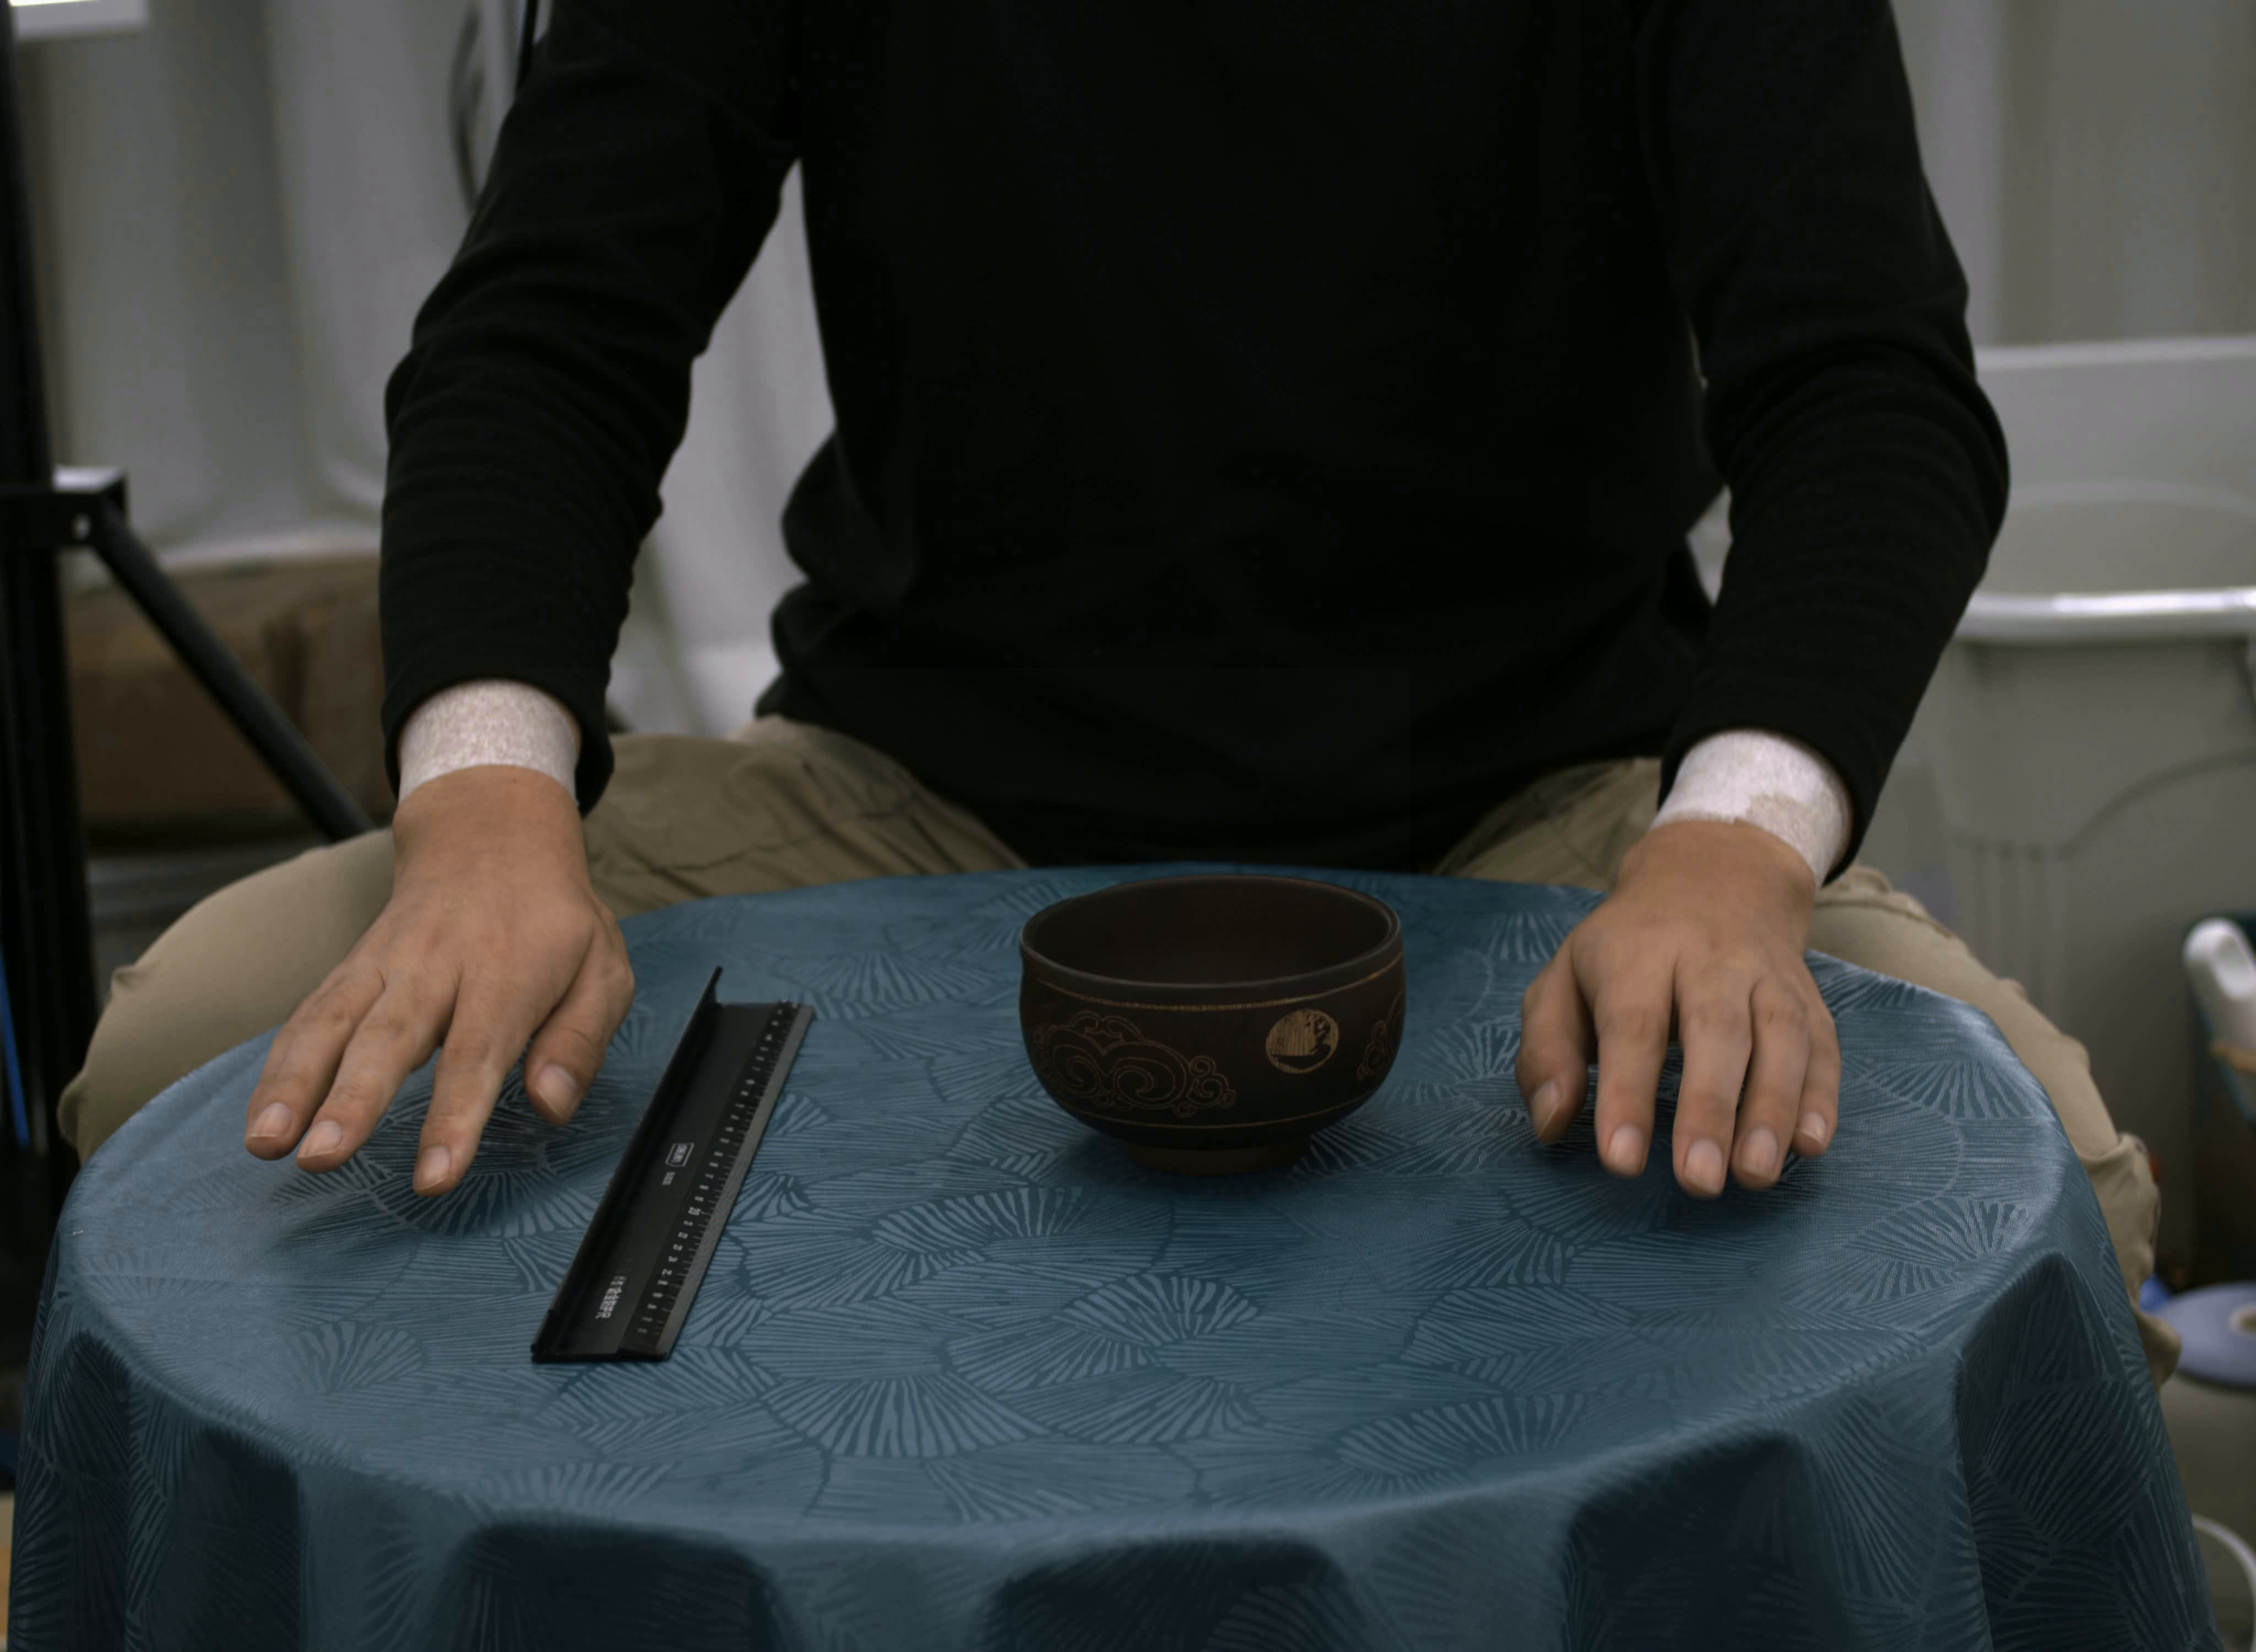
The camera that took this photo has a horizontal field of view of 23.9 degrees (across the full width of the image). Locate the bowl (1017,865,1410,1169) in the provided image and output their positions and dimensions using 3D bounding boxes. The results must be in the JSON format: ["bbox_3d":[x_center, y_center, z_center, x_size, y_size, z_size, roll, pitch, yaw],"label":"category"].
[{"bbox_3d":[0.026,0.061,1.585,0.117,0.070,0.118,-2,16,-1],"label":"bowl"}]

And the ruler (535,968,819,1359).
[{"bbox_3d":[-0.131,0.096,1.592,0.039,0.017,0.312,3,16,4],"label":"ruler"}]
